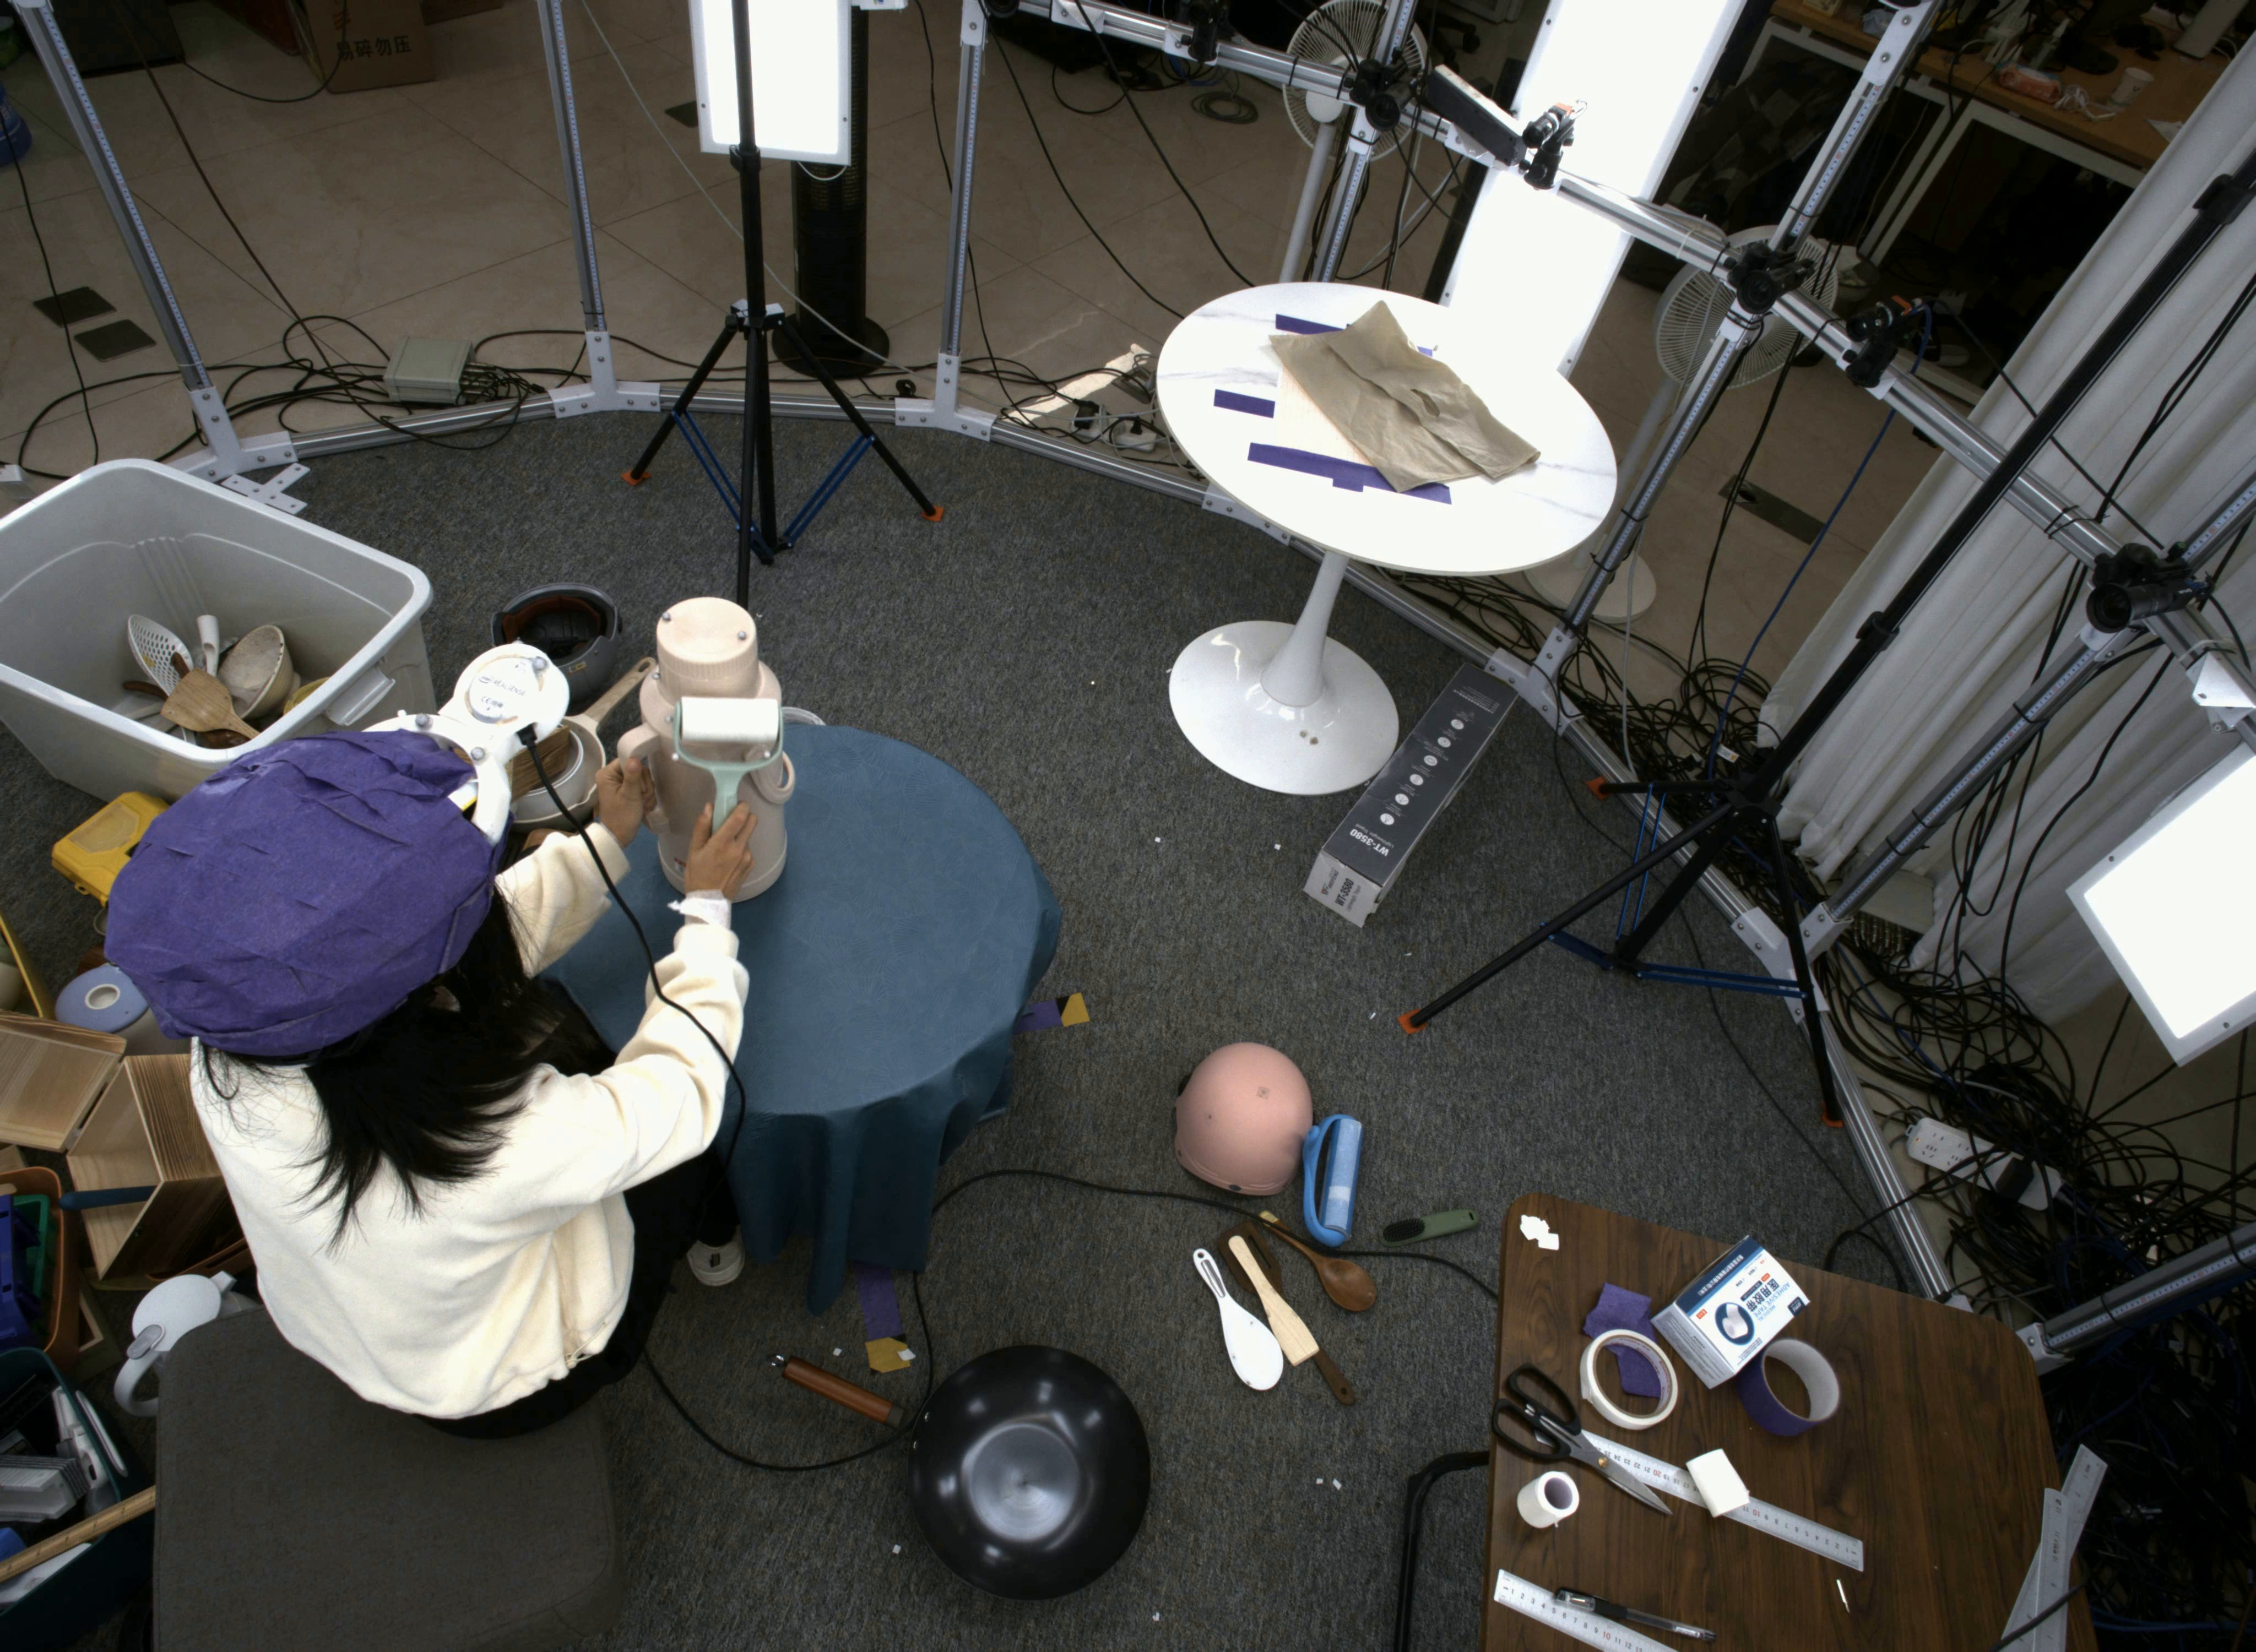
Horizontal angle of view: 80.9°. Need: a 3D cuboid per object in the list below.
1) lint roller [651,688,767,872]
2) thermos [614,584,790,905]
[{"bbox_3d":[-0.433,-0.040,1.389,0.117,0.204,0.047,-20,24,-24],"label":"lint roller"},{"bbox_3d":[-0.498,-0.086,1.504,0.171,0.415,0.207,40,54,19],"label":"thermos"}]
